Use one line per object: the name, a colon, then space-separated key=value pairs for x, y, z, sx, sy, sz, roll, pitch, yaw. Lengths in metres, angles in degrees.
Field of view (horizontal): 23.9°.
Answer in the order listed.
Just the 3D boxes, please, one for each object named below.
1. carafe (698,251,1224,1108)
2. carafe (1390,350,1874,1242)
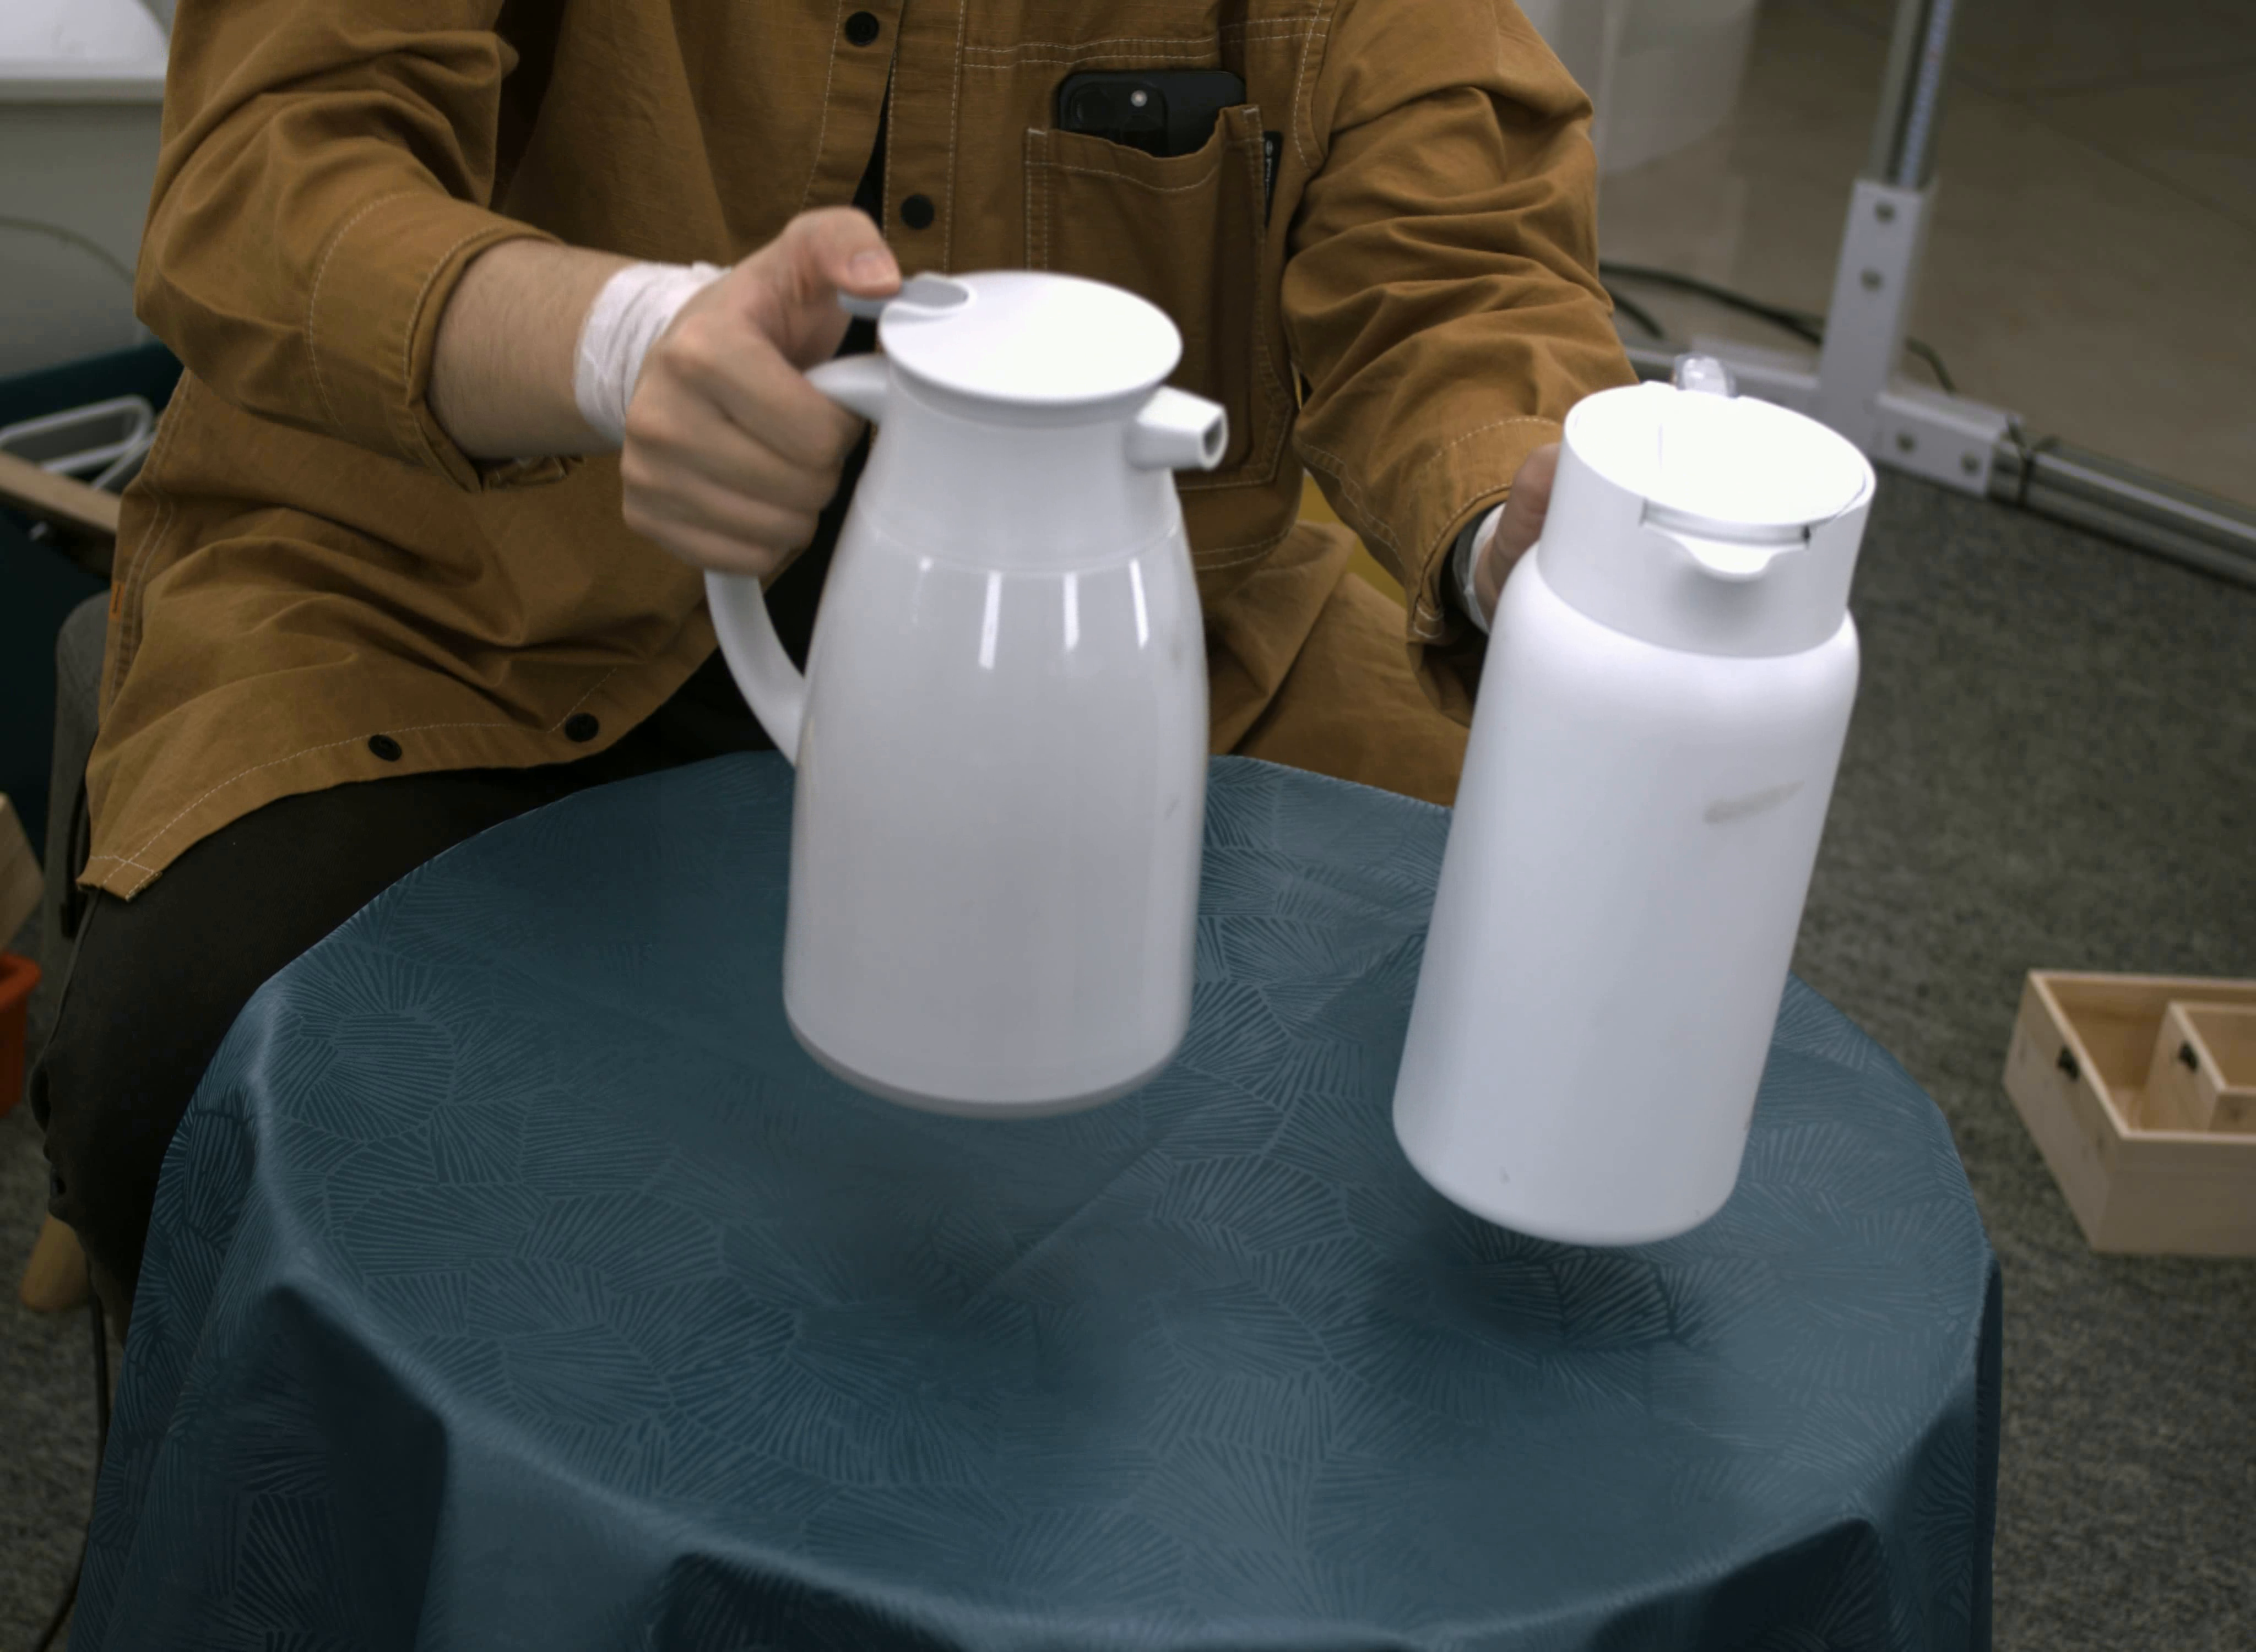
carafe: x=-0.057 y=-0.055 z=1.659 sx=0.168 sy=0.248 sz=0.132 roll=14 pitch=30 yaw=18
carafe: x=0.162 y=-0.013 z=1.725 sx=0.123 sy=0.268 sz=0.174 roll=6 pitch=27 yaw=-3
